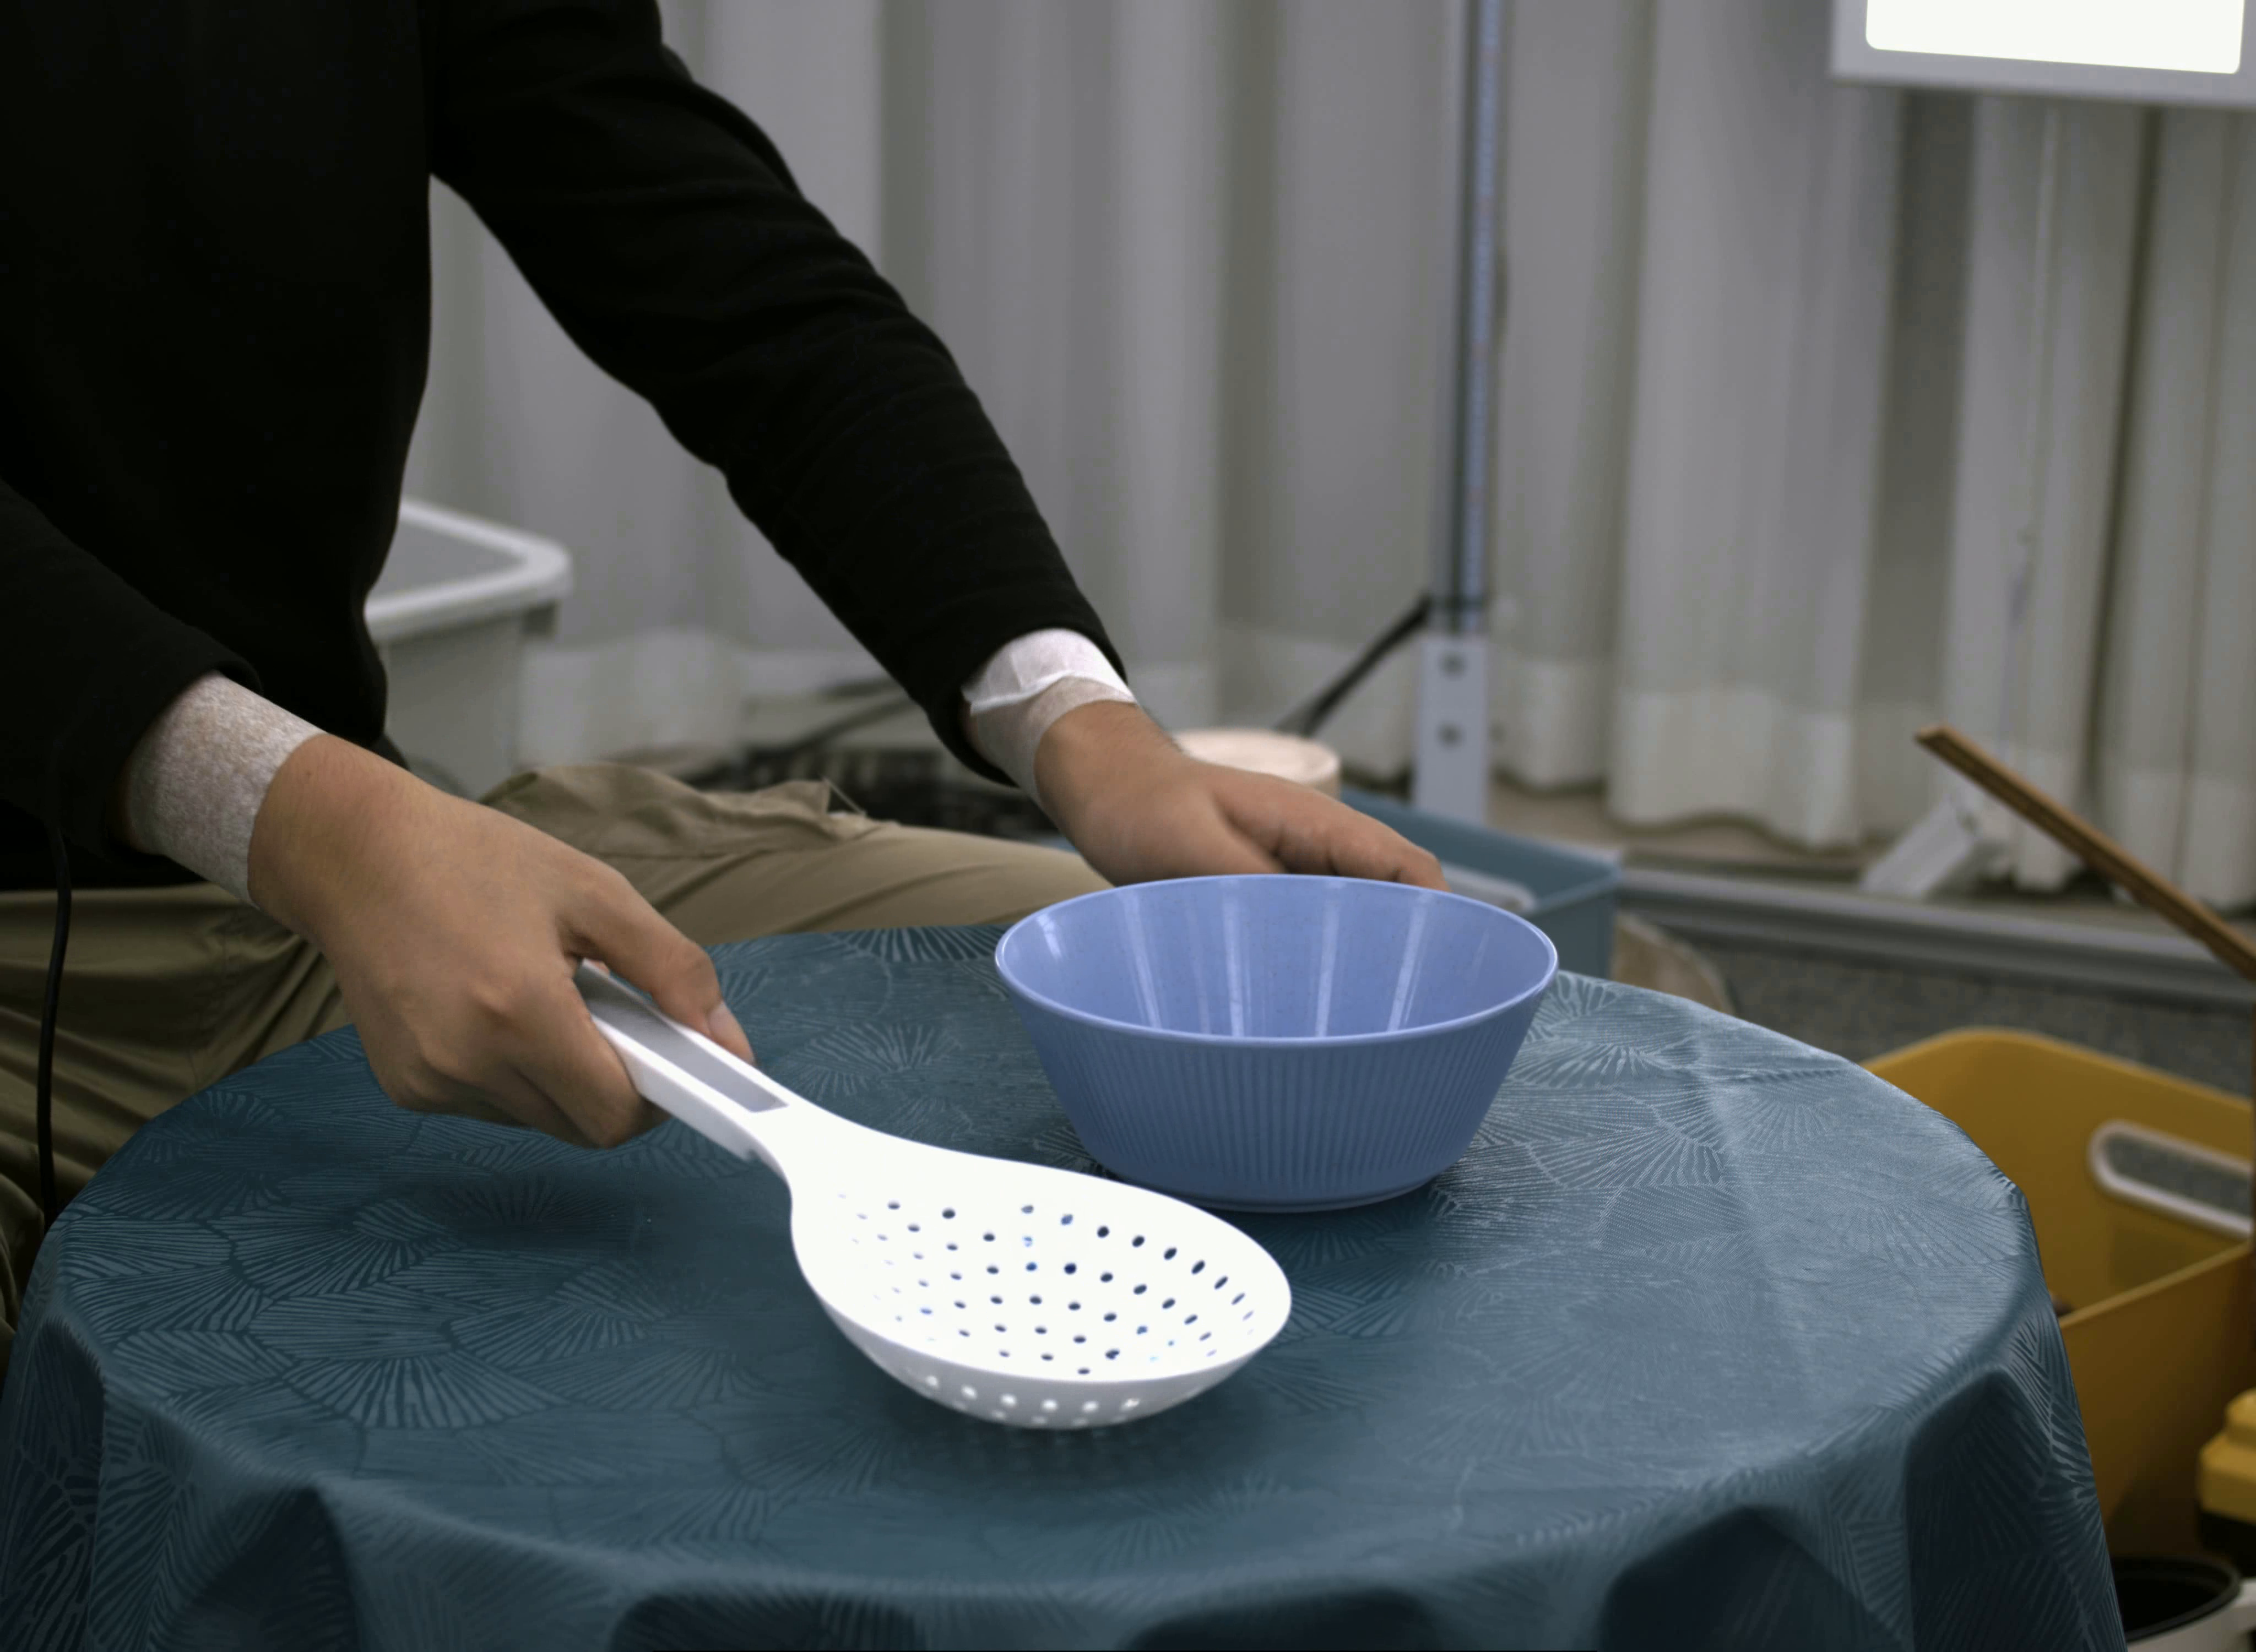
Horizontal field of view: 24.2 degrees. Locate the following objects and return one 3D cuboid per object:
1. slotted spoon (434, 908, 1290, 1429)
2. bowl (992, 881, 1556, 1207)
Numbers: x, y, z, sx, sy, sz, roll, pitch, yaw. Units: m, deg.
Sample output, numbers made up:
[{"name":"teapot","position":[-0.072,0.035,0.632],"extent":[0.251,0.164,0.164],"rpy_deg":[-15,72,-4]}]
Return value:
[{"name":"slotted spoon","position":[-0.094,0.091,1.511],"extent":[0.137,0.046,0.345],"rpy_deg":[-12,33,-40]},{"name":"bowl","position":[0.046,0.070,1.644],"extent":[0.175,0.071,0.175],"rpy_deg":[0,15,1]}]
